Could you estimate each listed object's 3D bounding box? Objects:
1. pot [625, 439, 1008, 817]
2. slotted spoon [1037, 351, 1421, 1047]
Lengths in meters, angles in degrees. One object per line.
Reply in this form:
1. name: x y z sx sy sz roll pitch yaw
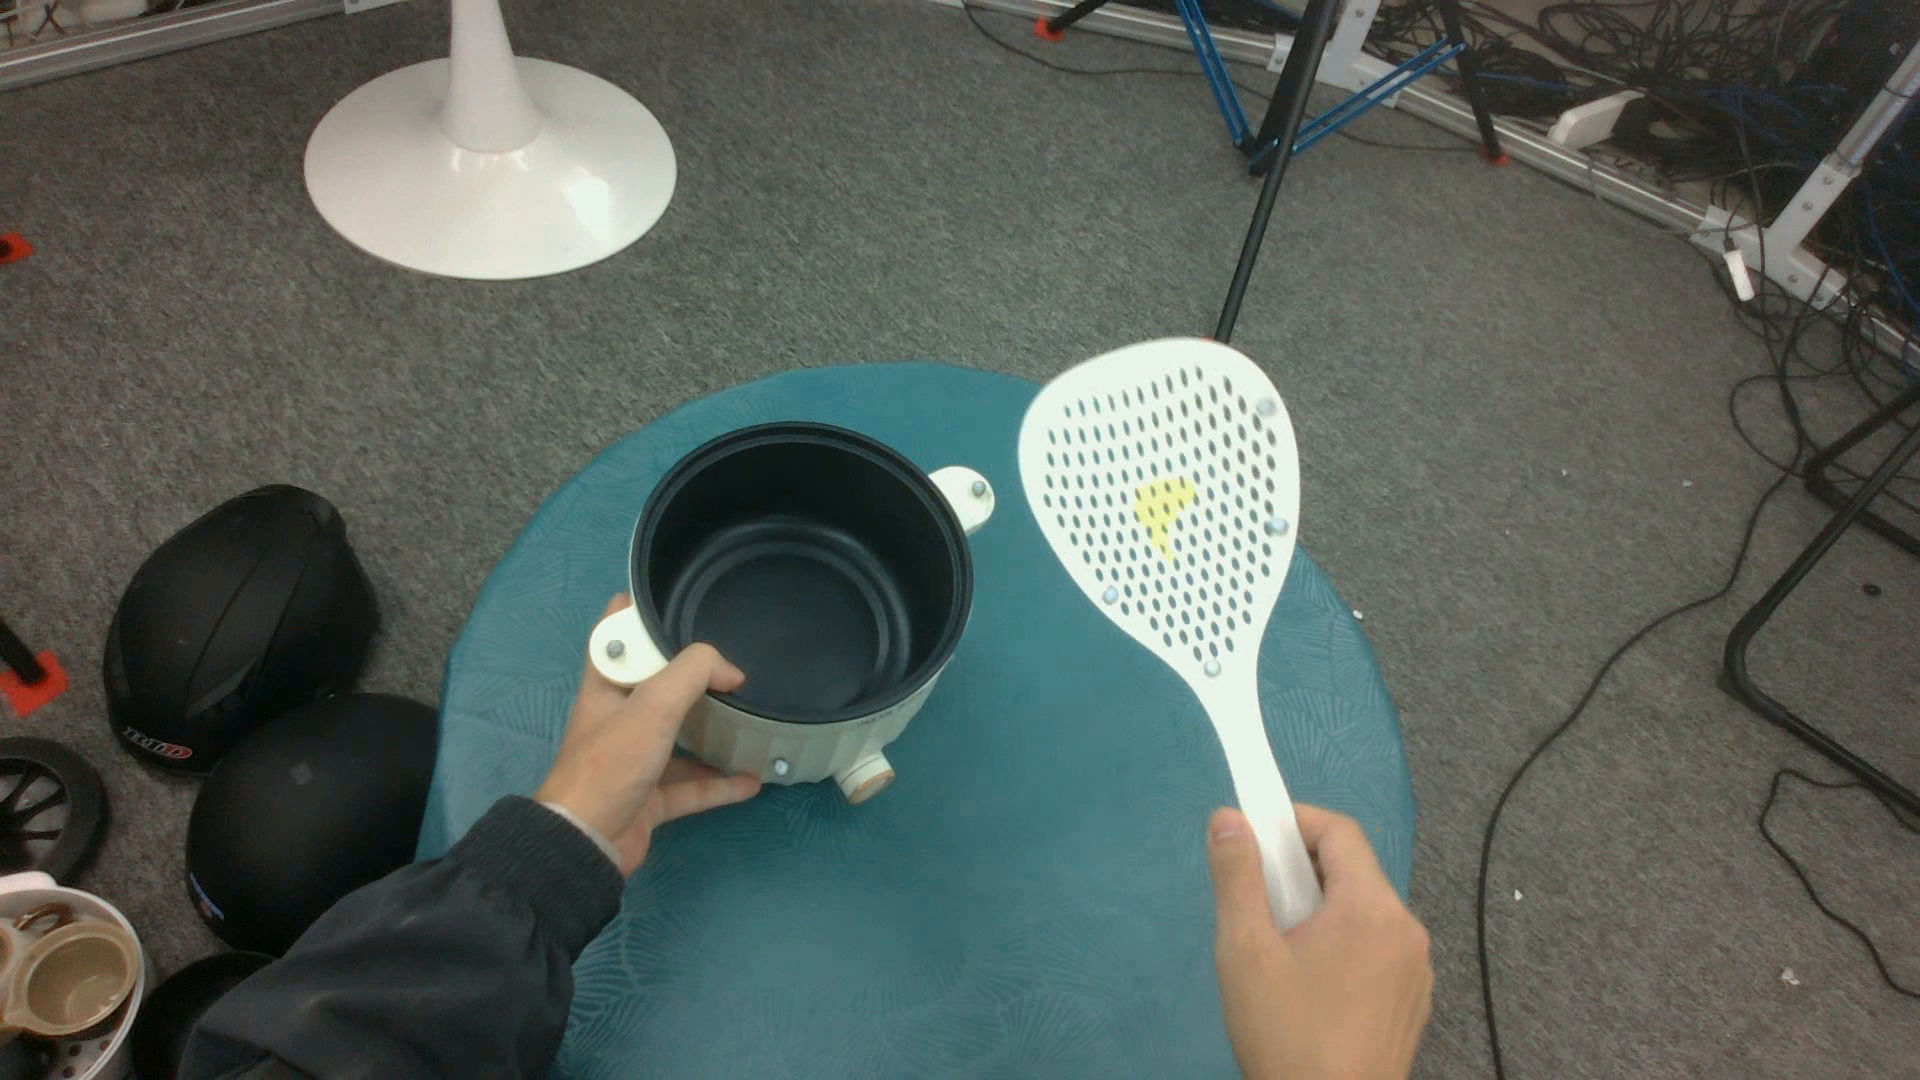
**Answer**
1. pot: -0.077 0.059 0.793 0.241 0.142 0.191 -29 66 -25
2. slotted spoon: 0.138 0.064 0.658 0.137 0.050 0.349 -18 61 3
